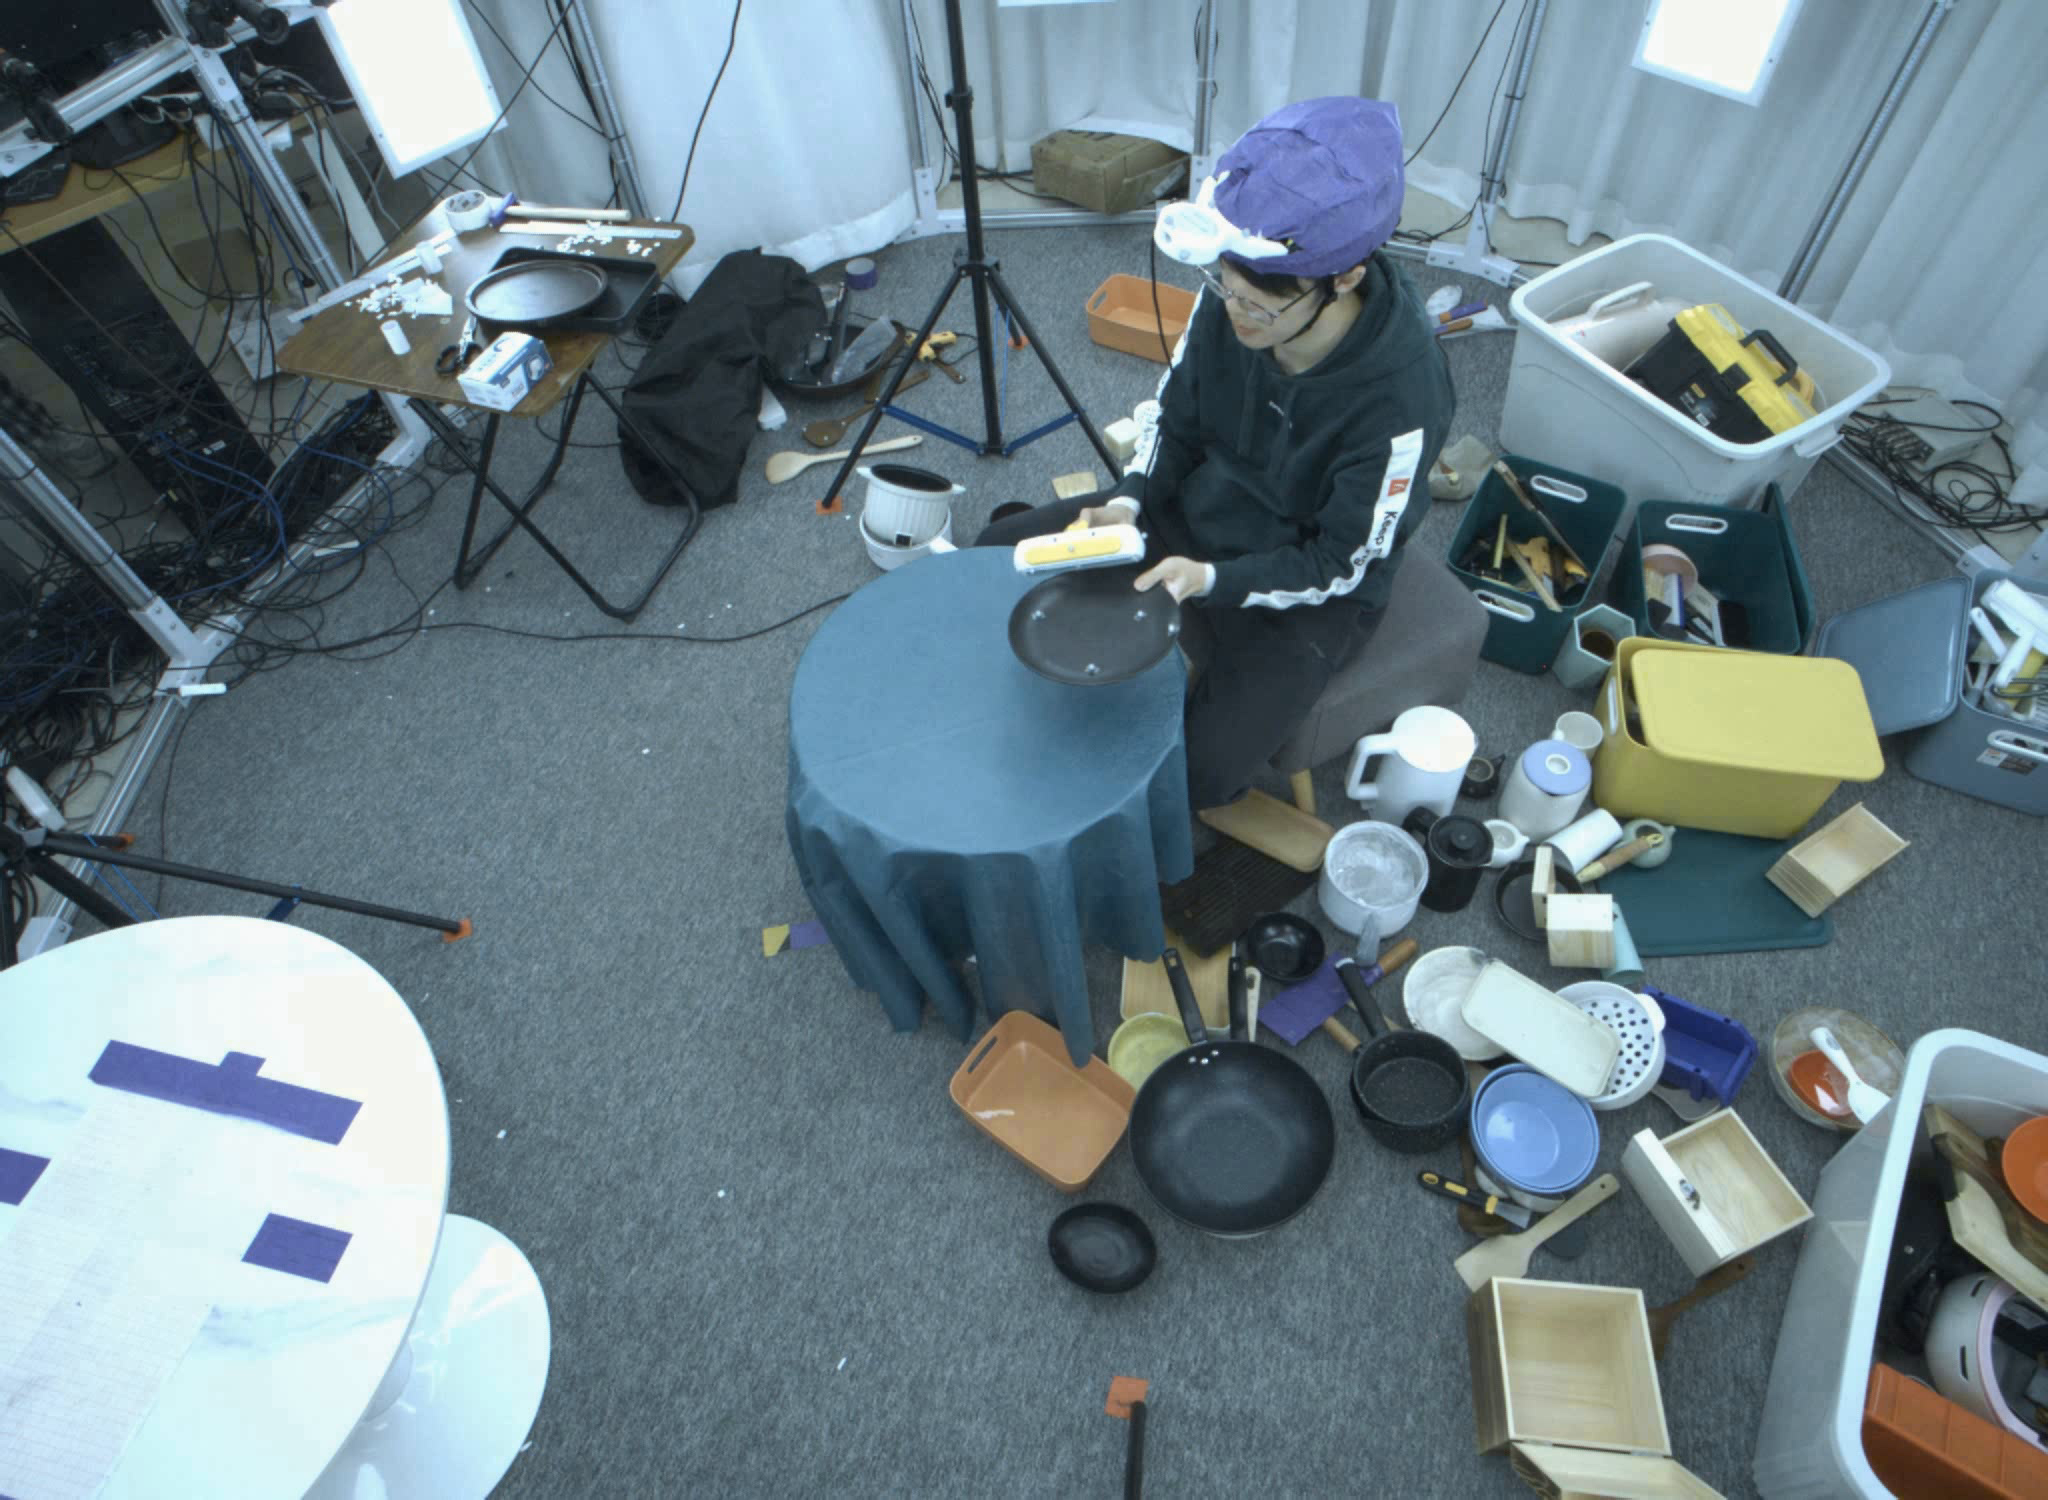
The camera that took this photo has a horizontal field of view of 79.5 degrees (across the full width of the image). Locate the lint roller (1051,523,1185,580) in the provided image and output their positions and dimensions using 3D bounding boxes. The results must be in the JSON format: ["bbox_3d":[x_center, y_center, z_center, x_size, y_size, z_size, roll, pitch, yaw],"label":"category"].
[{"bbox_3d":[0.147,-0.293,1.829,0.191,0.194,0.074,-10,91,14],"label":"lint roller"}]

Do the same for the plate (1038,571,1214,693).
[{"bbox_3d":[0.141,-0.162,1.710,0.244,0.024,0.242,-2,49,3],"label":"plate"}]
